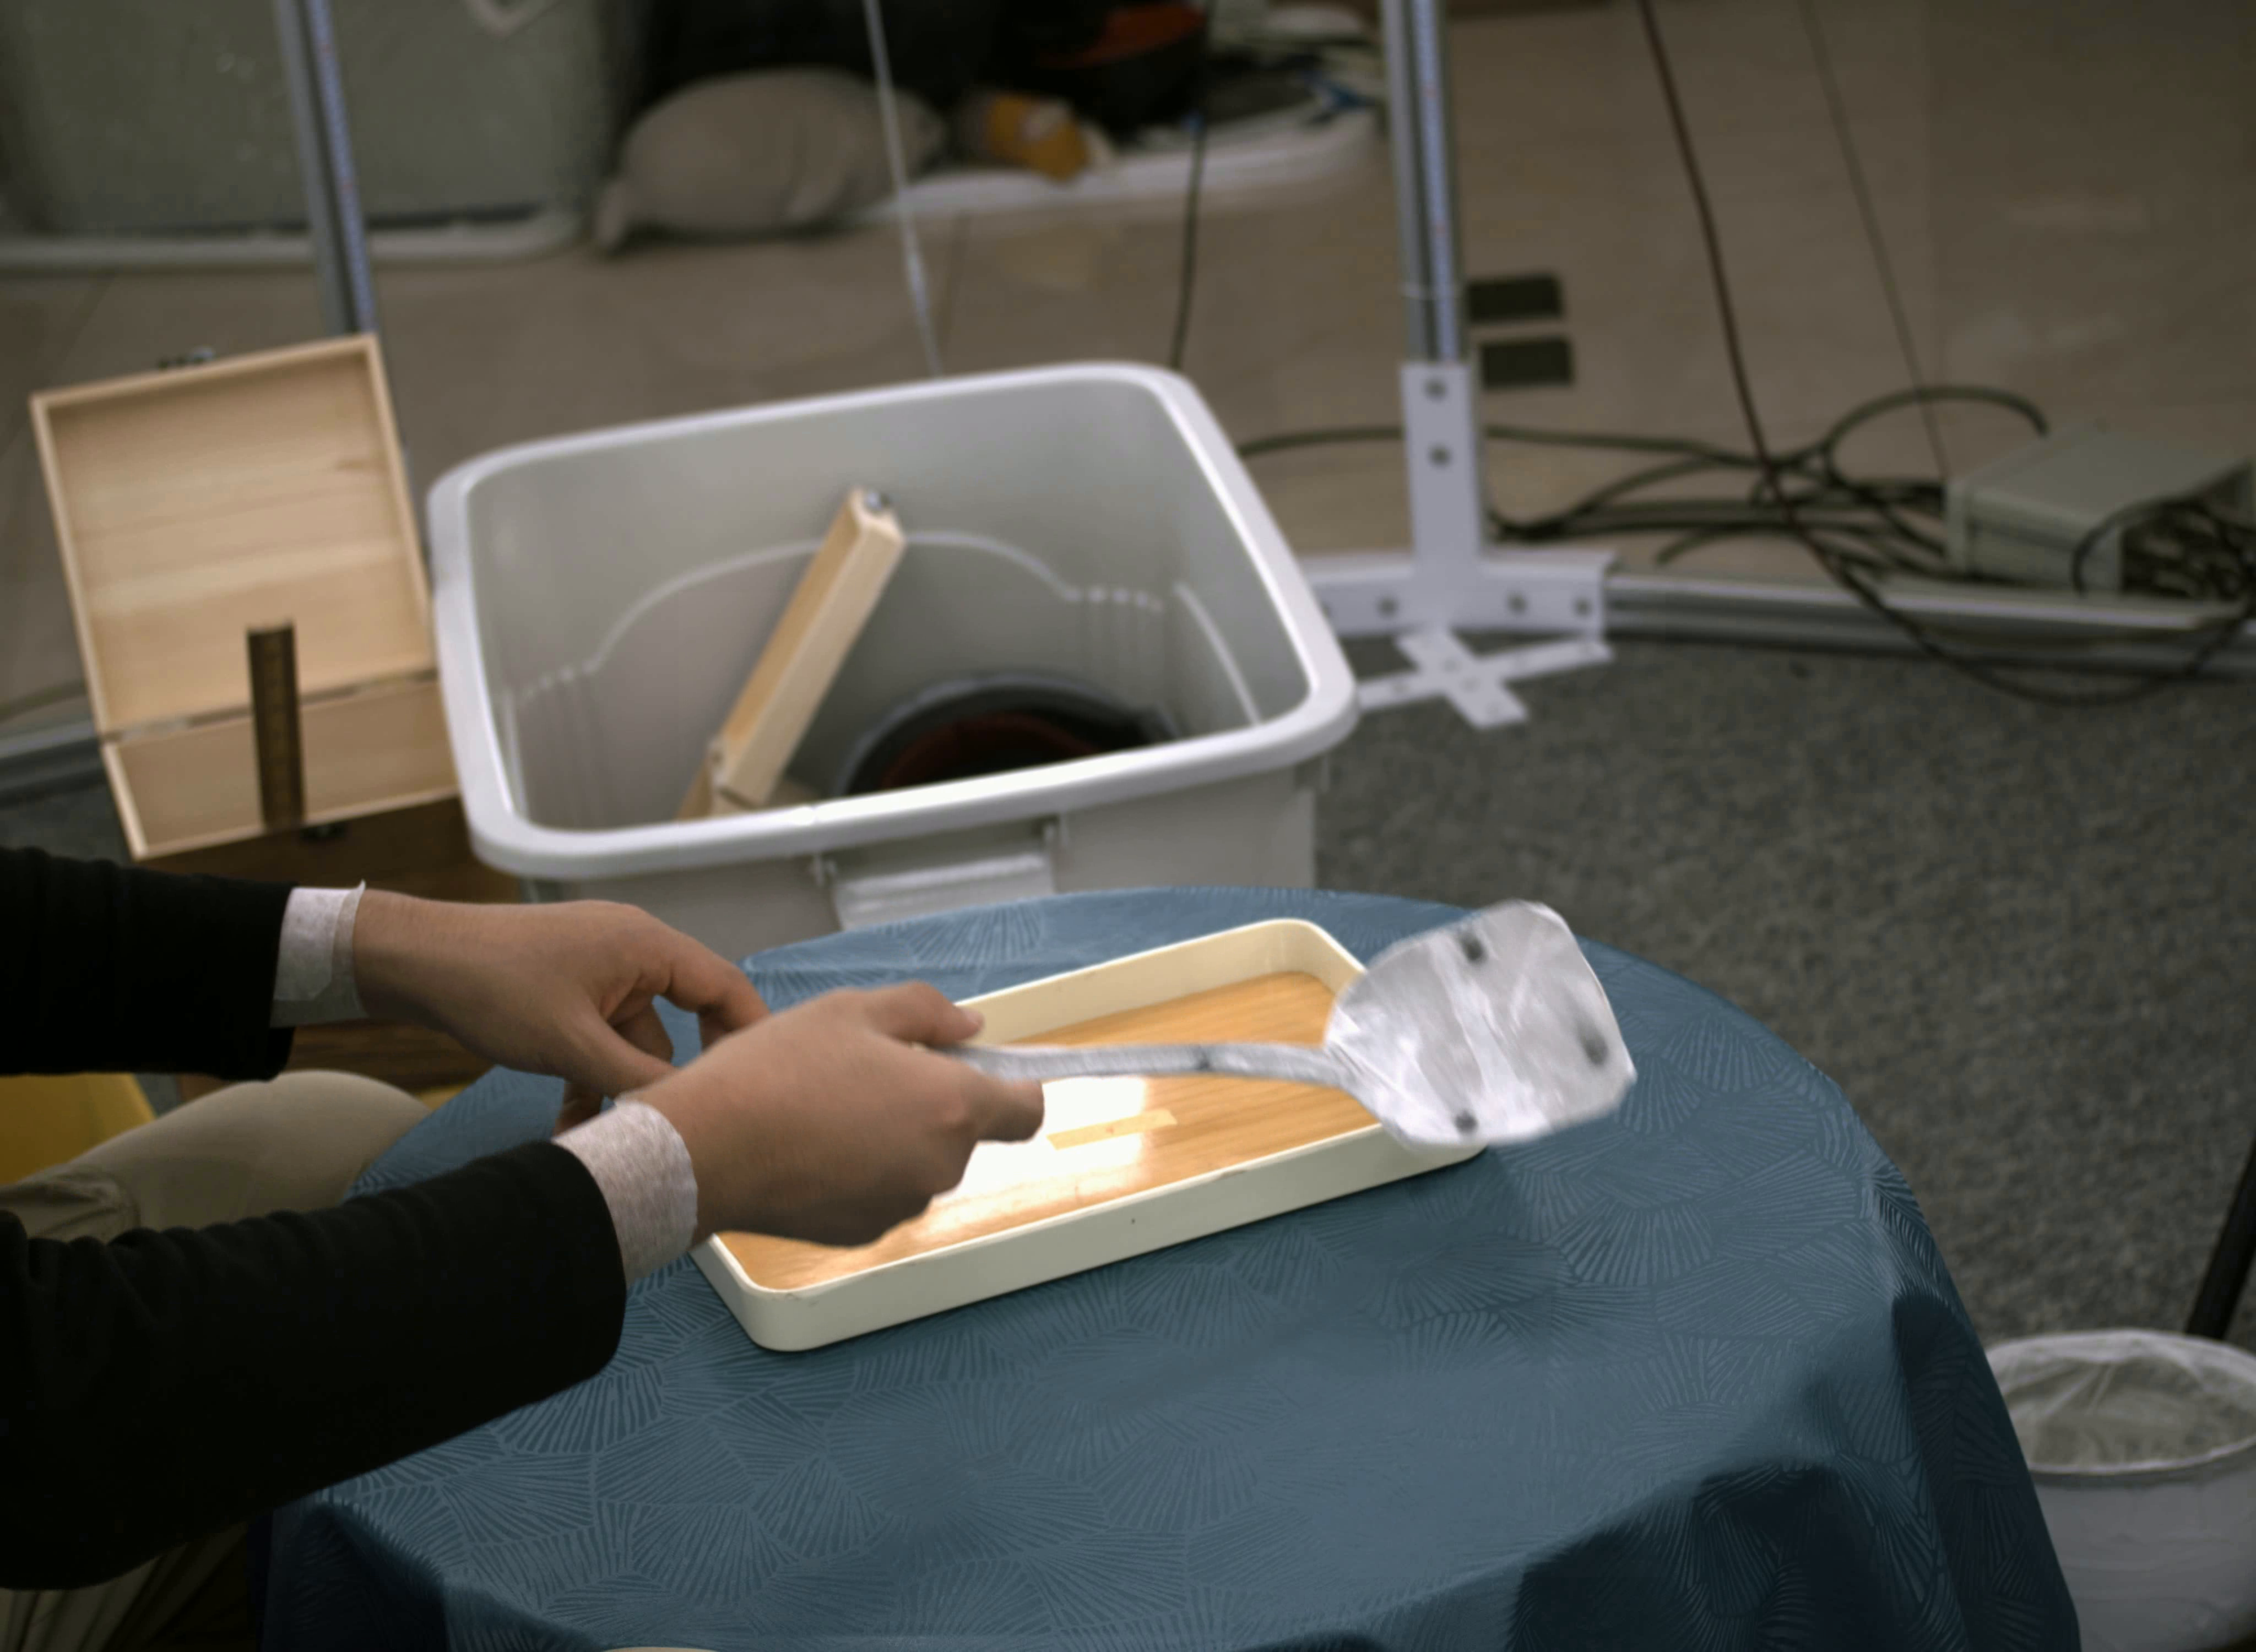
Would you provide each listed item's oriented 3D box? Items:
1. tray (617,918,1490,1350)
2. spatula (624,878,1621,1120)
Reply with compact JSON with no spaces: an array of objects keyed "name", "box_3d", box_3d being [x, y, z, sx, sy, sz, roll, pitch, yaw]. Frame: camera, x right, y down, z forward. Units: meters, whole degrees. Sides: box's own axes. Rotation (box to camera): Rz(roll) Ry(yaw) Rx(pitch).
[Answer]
[{"name":"tray","box_3d":[-0.030,0.115,2.176,0.299,0.028,0.189,-15,26,-17]},{"name":"spatula","box_3d":[0.001,0.073,1.984,0.364,0.045,0.097,-3,50,-26]}]
